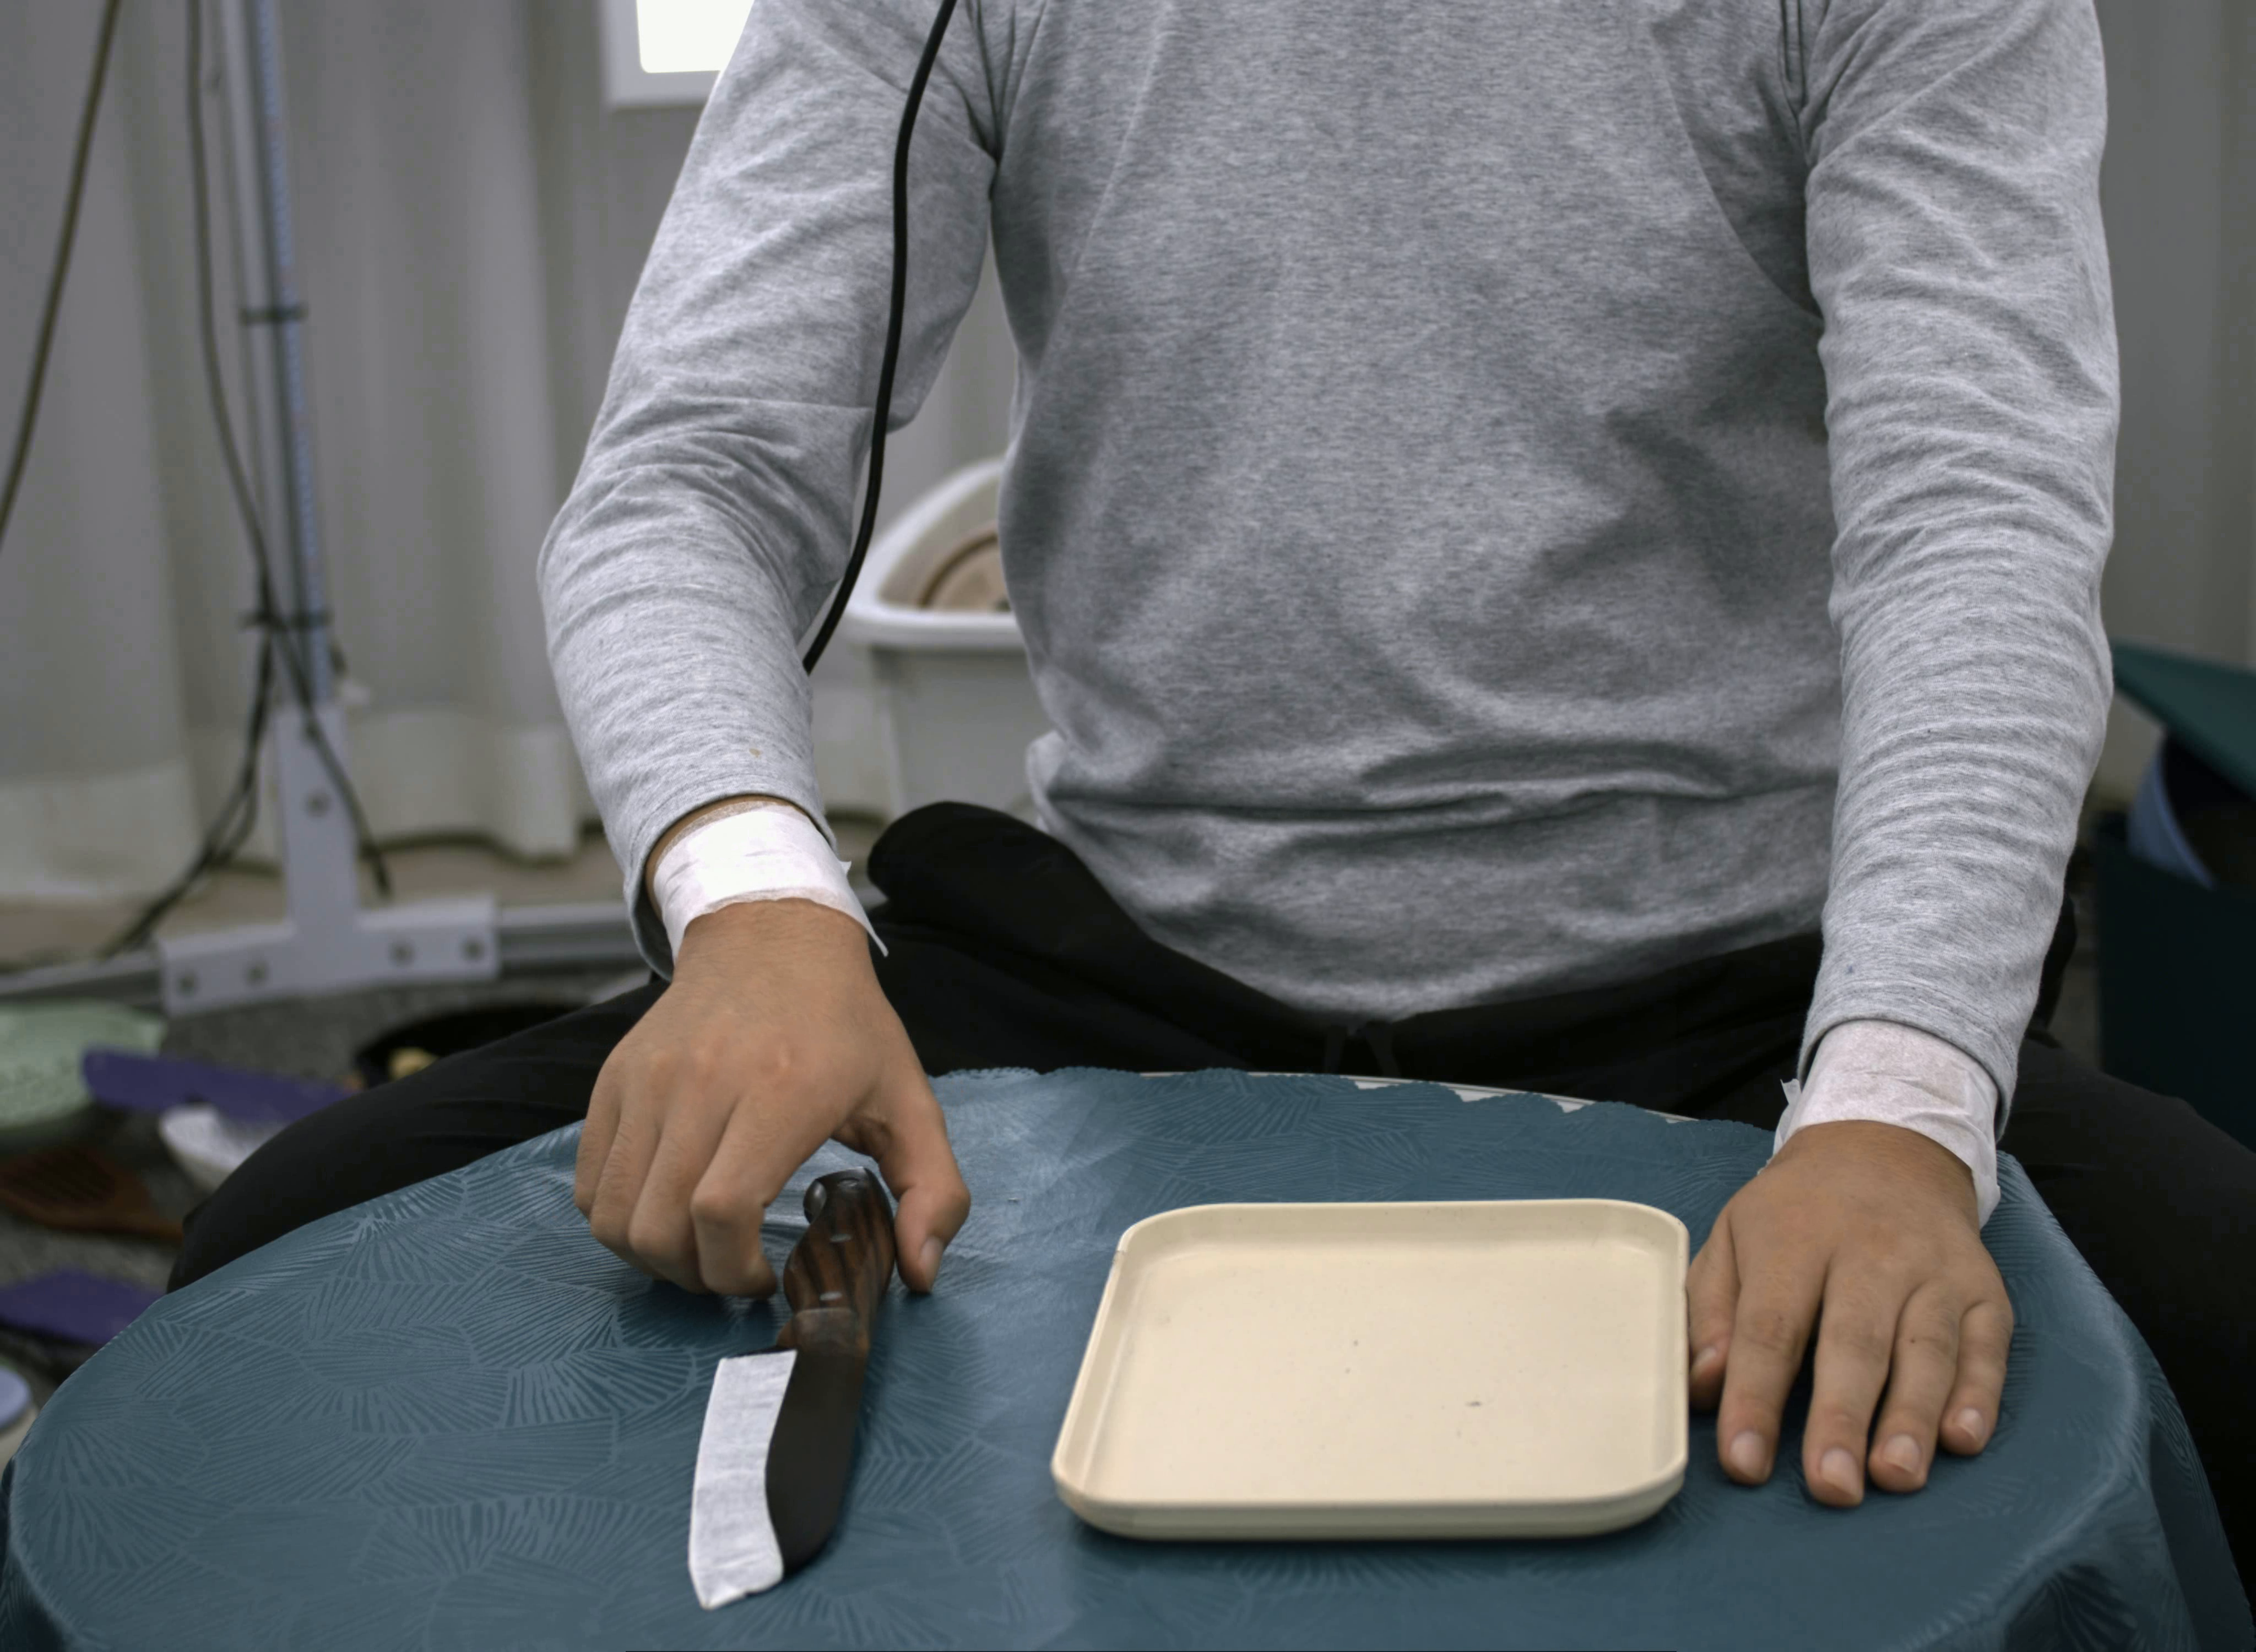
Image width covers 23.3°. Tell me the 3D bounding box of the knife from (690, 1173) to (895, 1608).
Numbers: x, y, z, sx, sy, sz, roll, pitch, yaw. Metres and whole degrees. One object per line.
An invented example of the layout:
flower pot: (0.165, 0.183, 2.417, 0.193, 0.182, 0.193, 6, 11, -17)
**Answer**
knife: (-0.094, 0.158, 1.544, 0.050, 0.020, 0.291, -7, 17, 6)

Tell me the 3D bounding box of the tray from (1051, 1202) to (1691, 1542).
tray: (0.073, 0.152, 1.531, 0.171, 0.017, 0.241, -1, 15, 7)
